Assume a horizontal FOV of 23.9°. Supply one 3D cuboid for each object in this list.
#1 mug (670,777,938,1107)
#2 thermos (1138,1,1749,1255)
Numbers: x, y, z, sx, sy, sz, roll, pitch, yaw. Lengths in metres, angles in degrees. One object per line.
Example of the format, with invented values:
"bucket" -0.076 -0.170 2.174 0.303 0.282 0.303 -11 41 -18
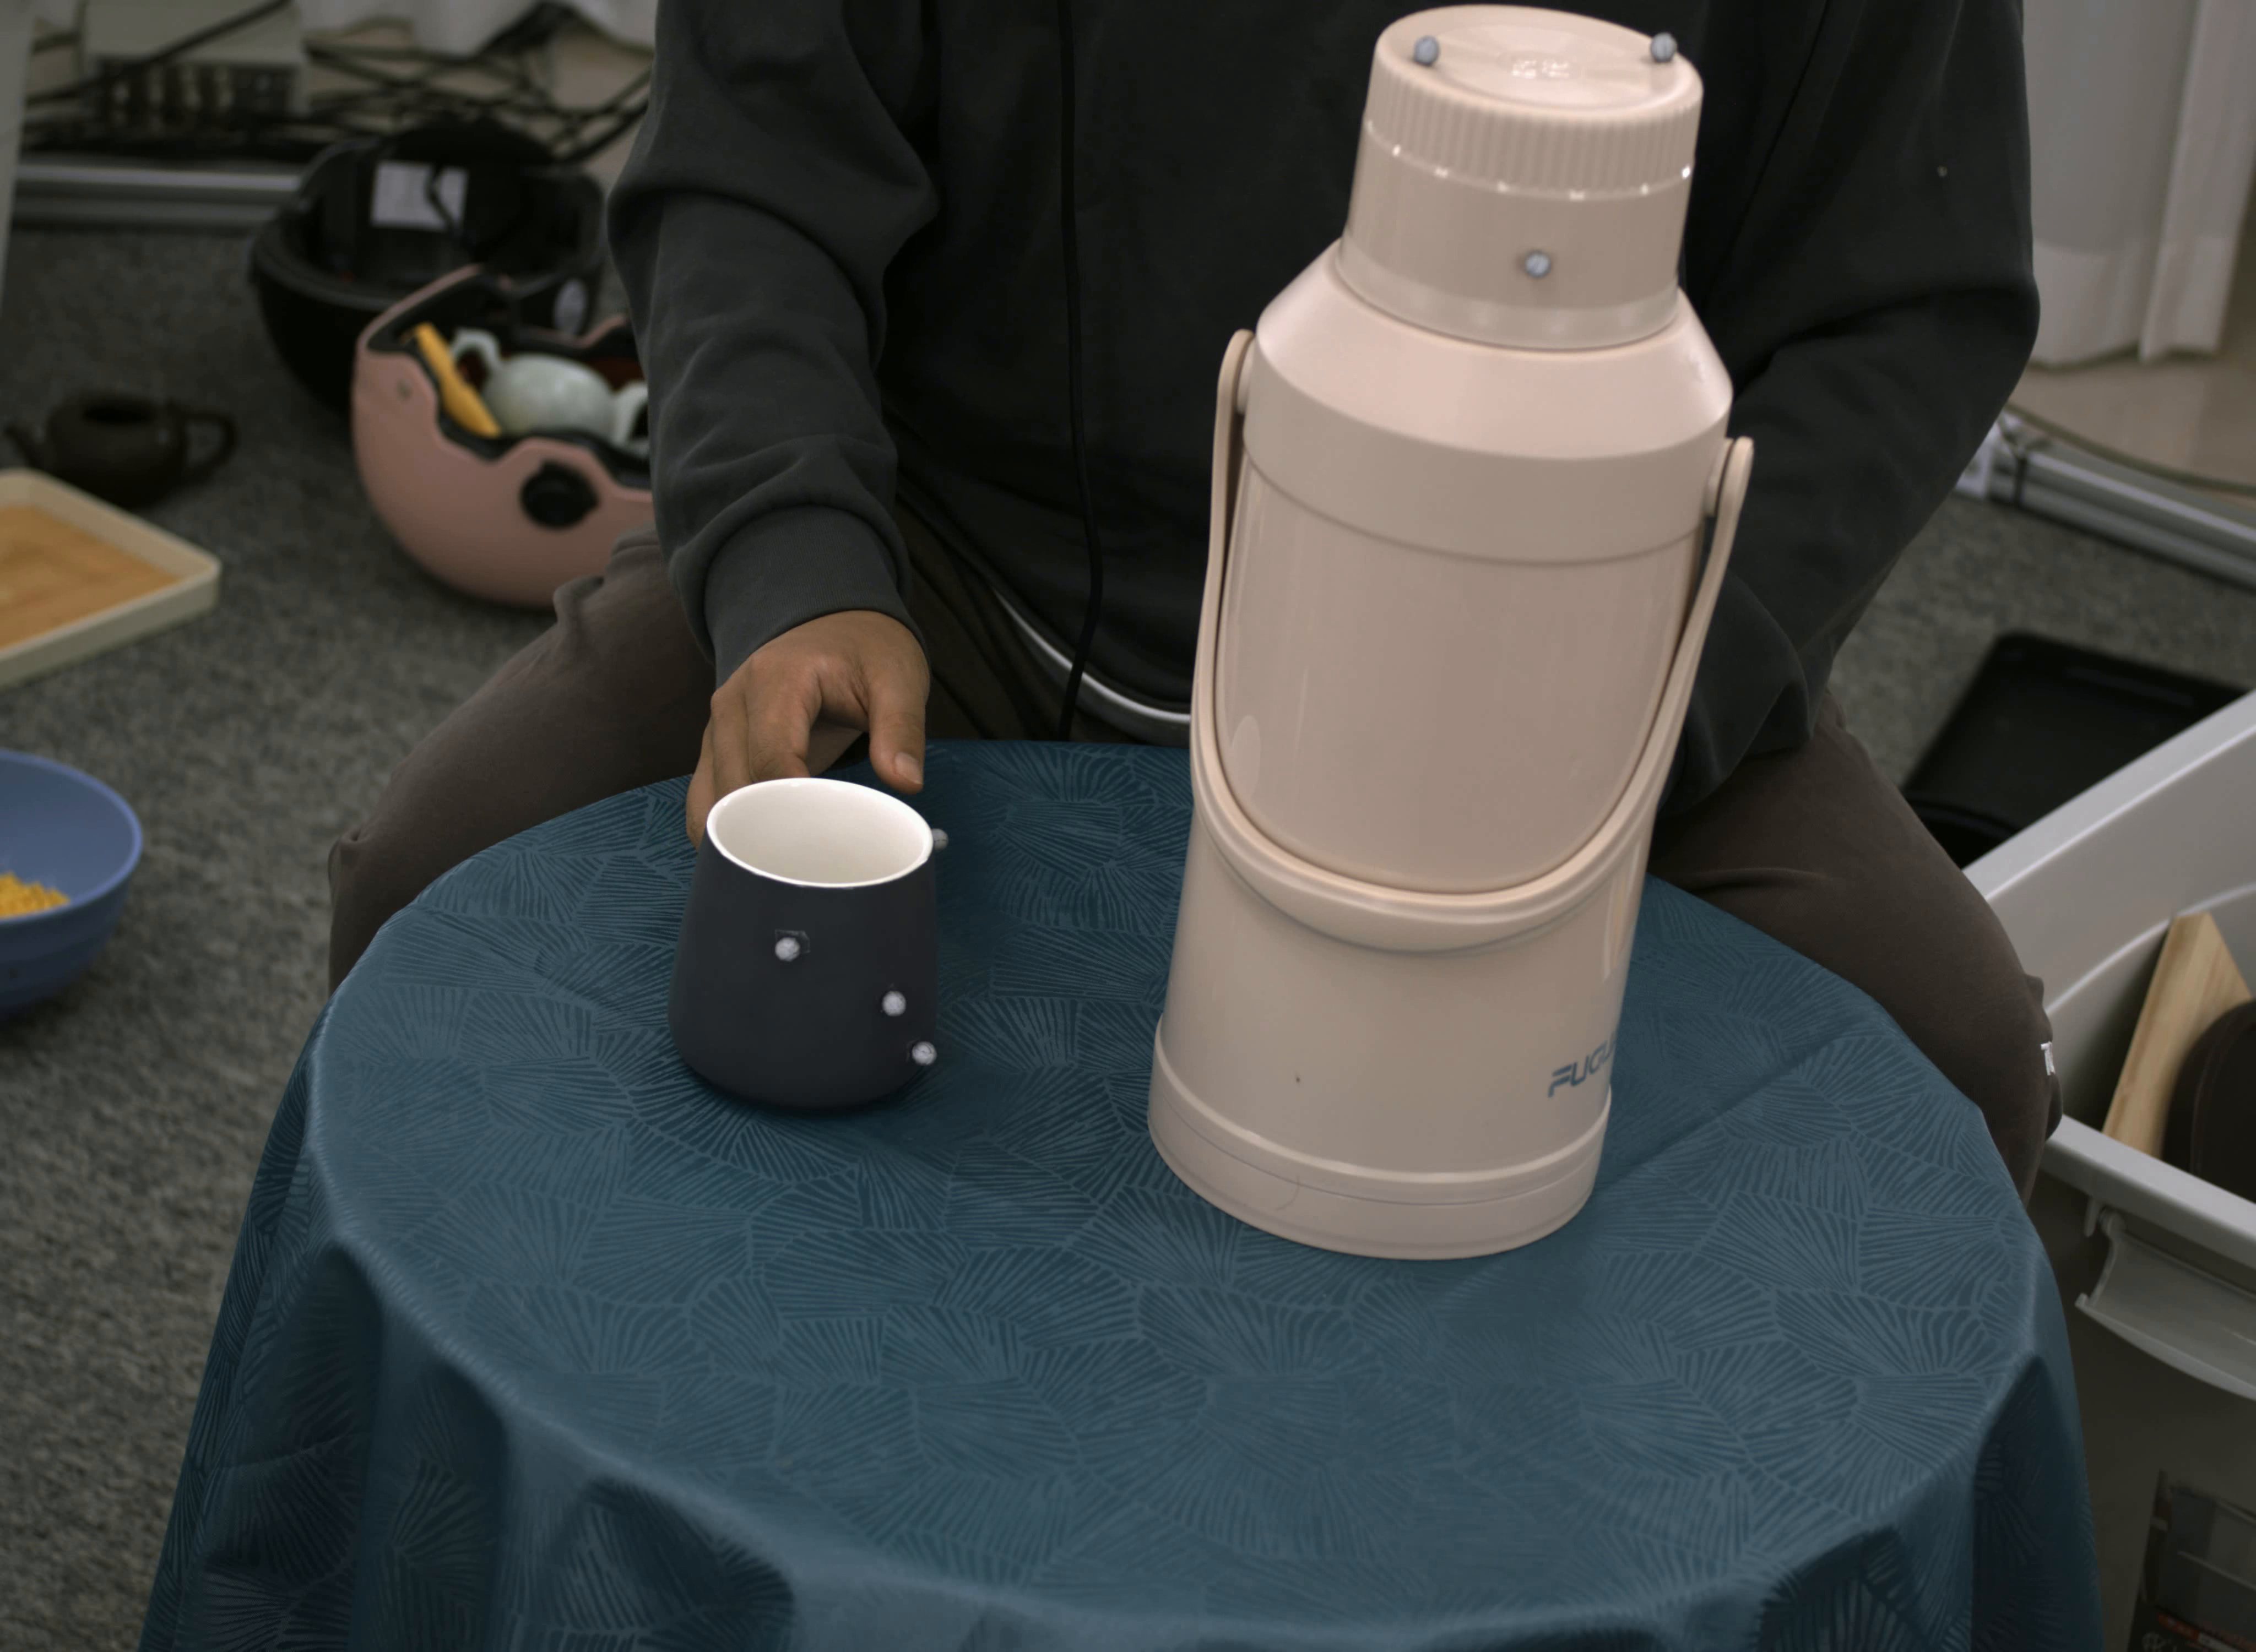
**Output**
"mug" -0.108 0.034 1.856 0.093 0.089 0.124 10 27 5
"thermos" 0.110 -0.072 1.780 0.175 0.405 0.207 13 27 11
